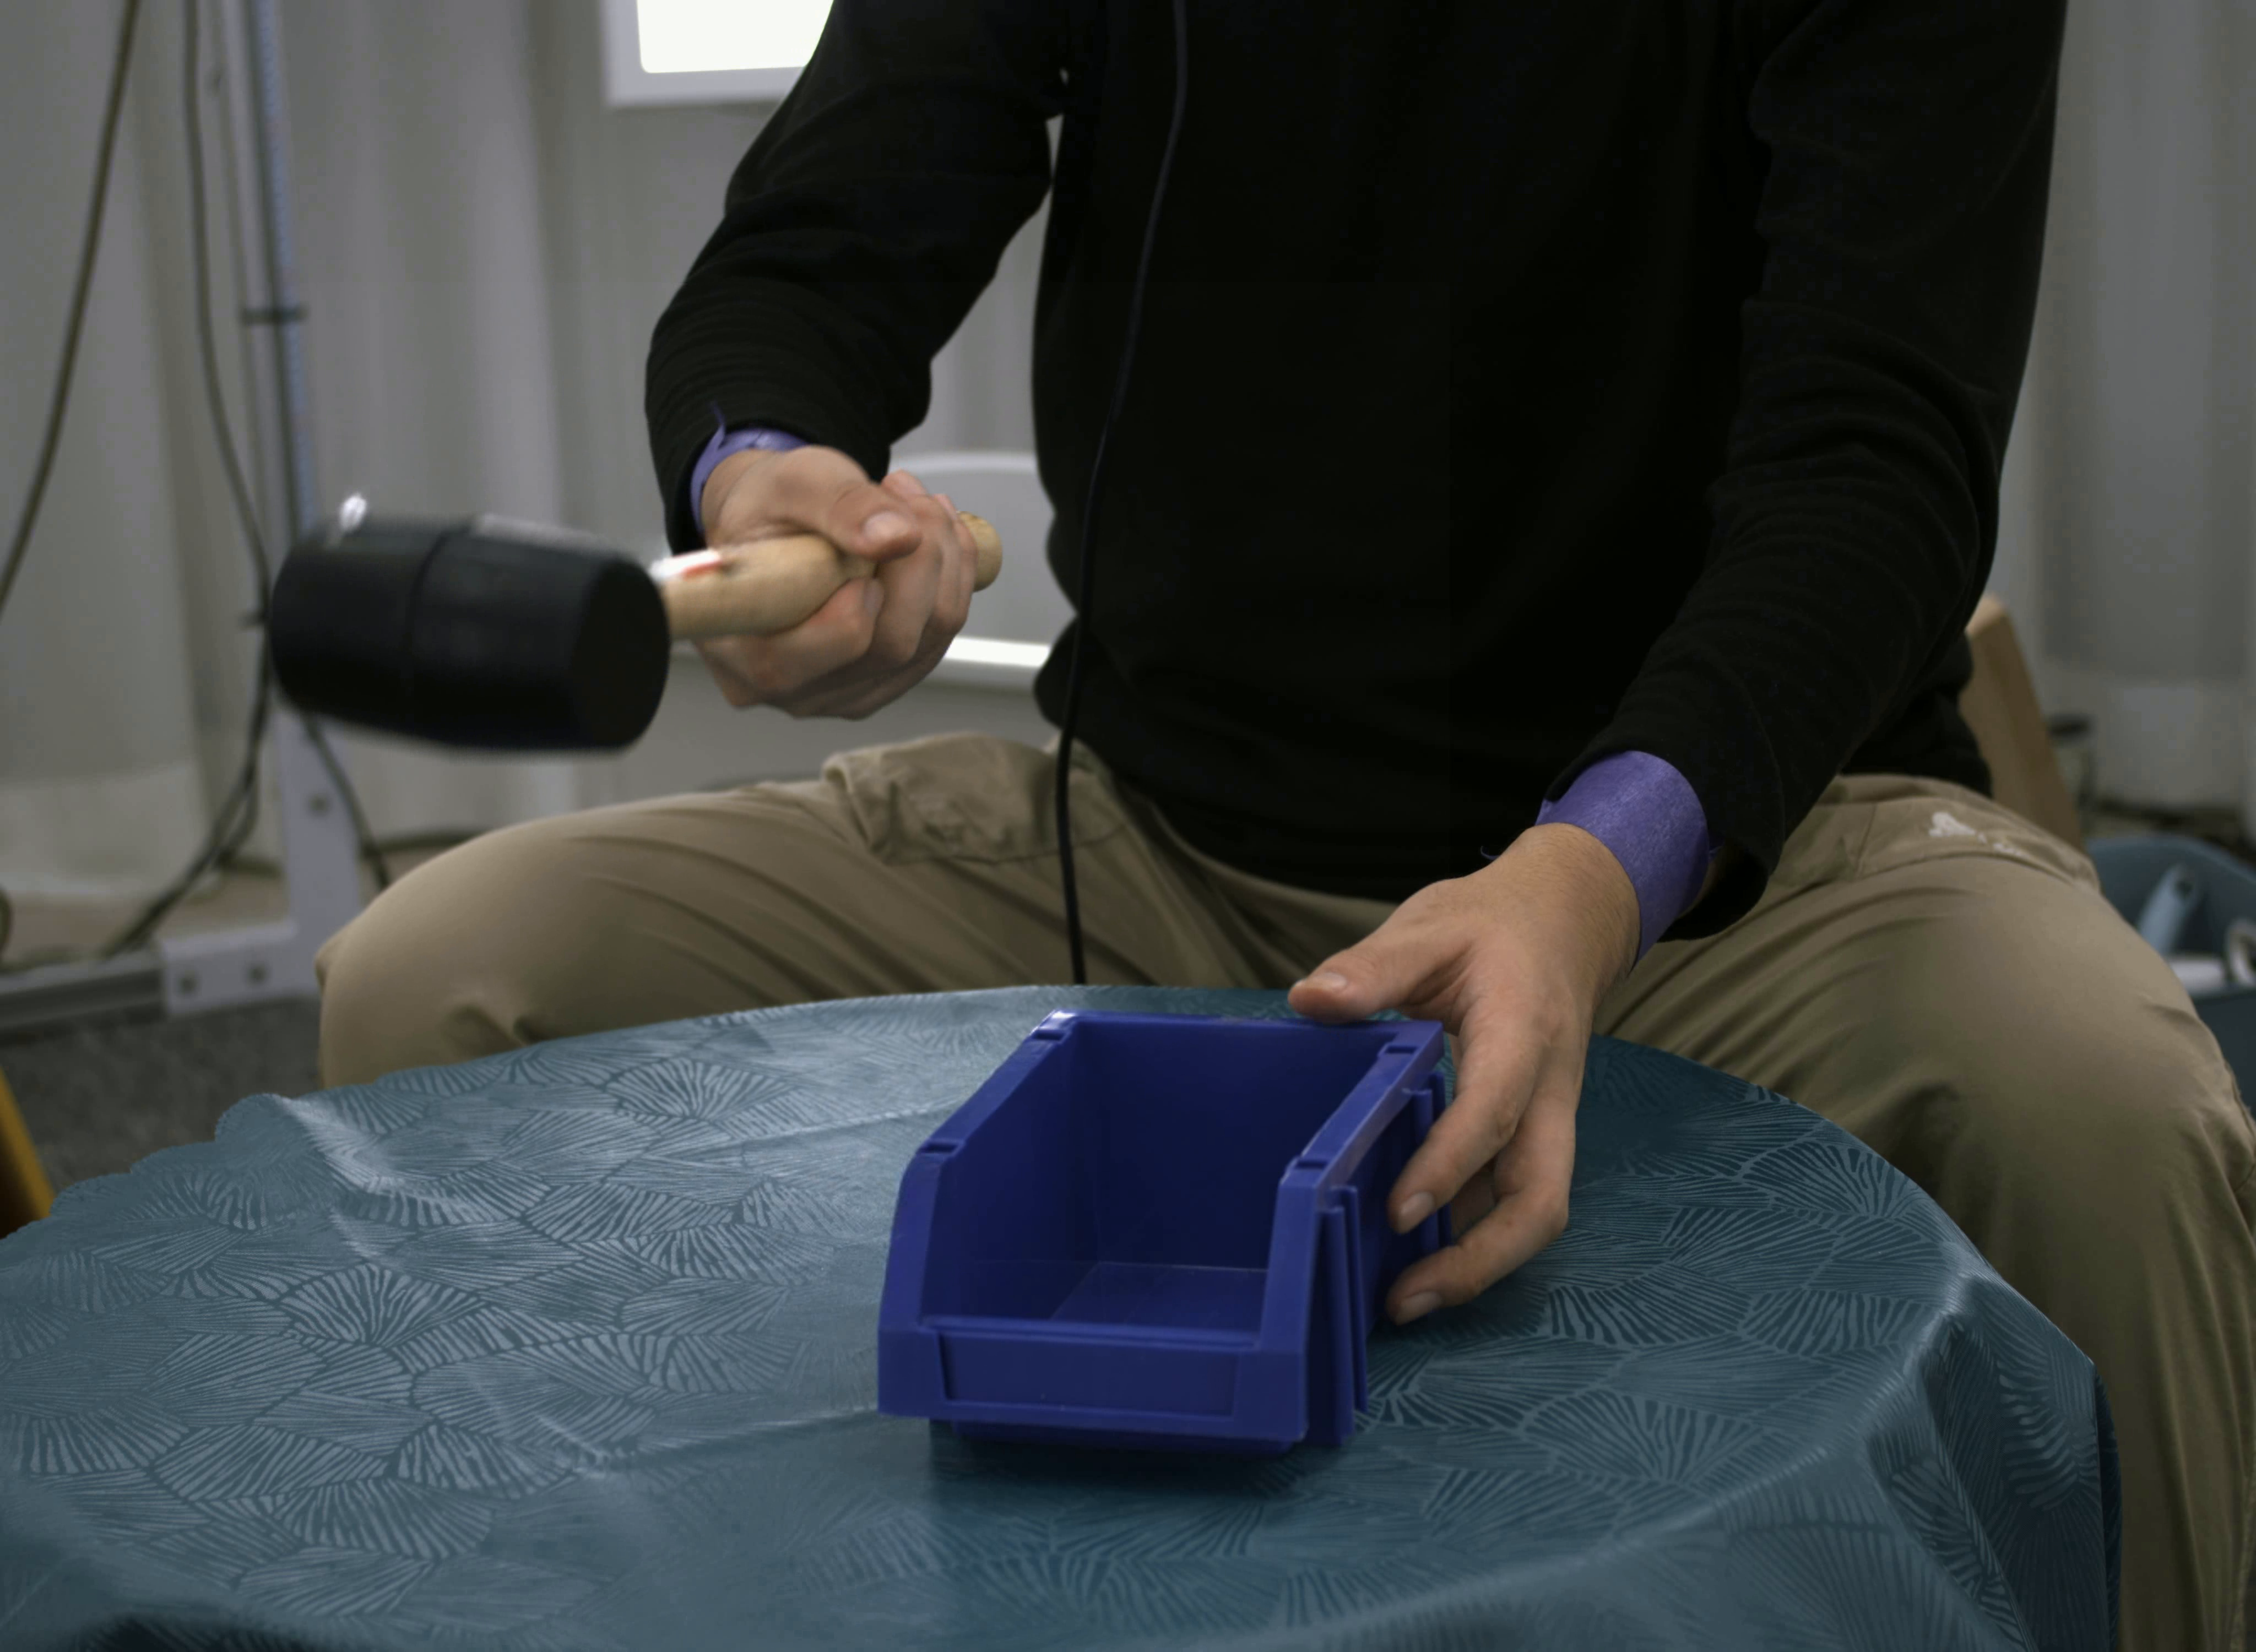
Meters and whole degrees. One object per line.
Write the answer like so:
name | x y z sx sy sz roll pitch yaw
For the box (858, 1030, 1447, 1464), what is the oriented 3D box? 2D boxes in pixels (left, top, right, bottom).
box | 0.012 0.120 1.535 0.124 0.081 0.180 2 12 18

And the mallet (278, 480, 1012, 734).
mallet | -0.120 -0.080 1.618 0.102 0.064 0.338 12 13 23
